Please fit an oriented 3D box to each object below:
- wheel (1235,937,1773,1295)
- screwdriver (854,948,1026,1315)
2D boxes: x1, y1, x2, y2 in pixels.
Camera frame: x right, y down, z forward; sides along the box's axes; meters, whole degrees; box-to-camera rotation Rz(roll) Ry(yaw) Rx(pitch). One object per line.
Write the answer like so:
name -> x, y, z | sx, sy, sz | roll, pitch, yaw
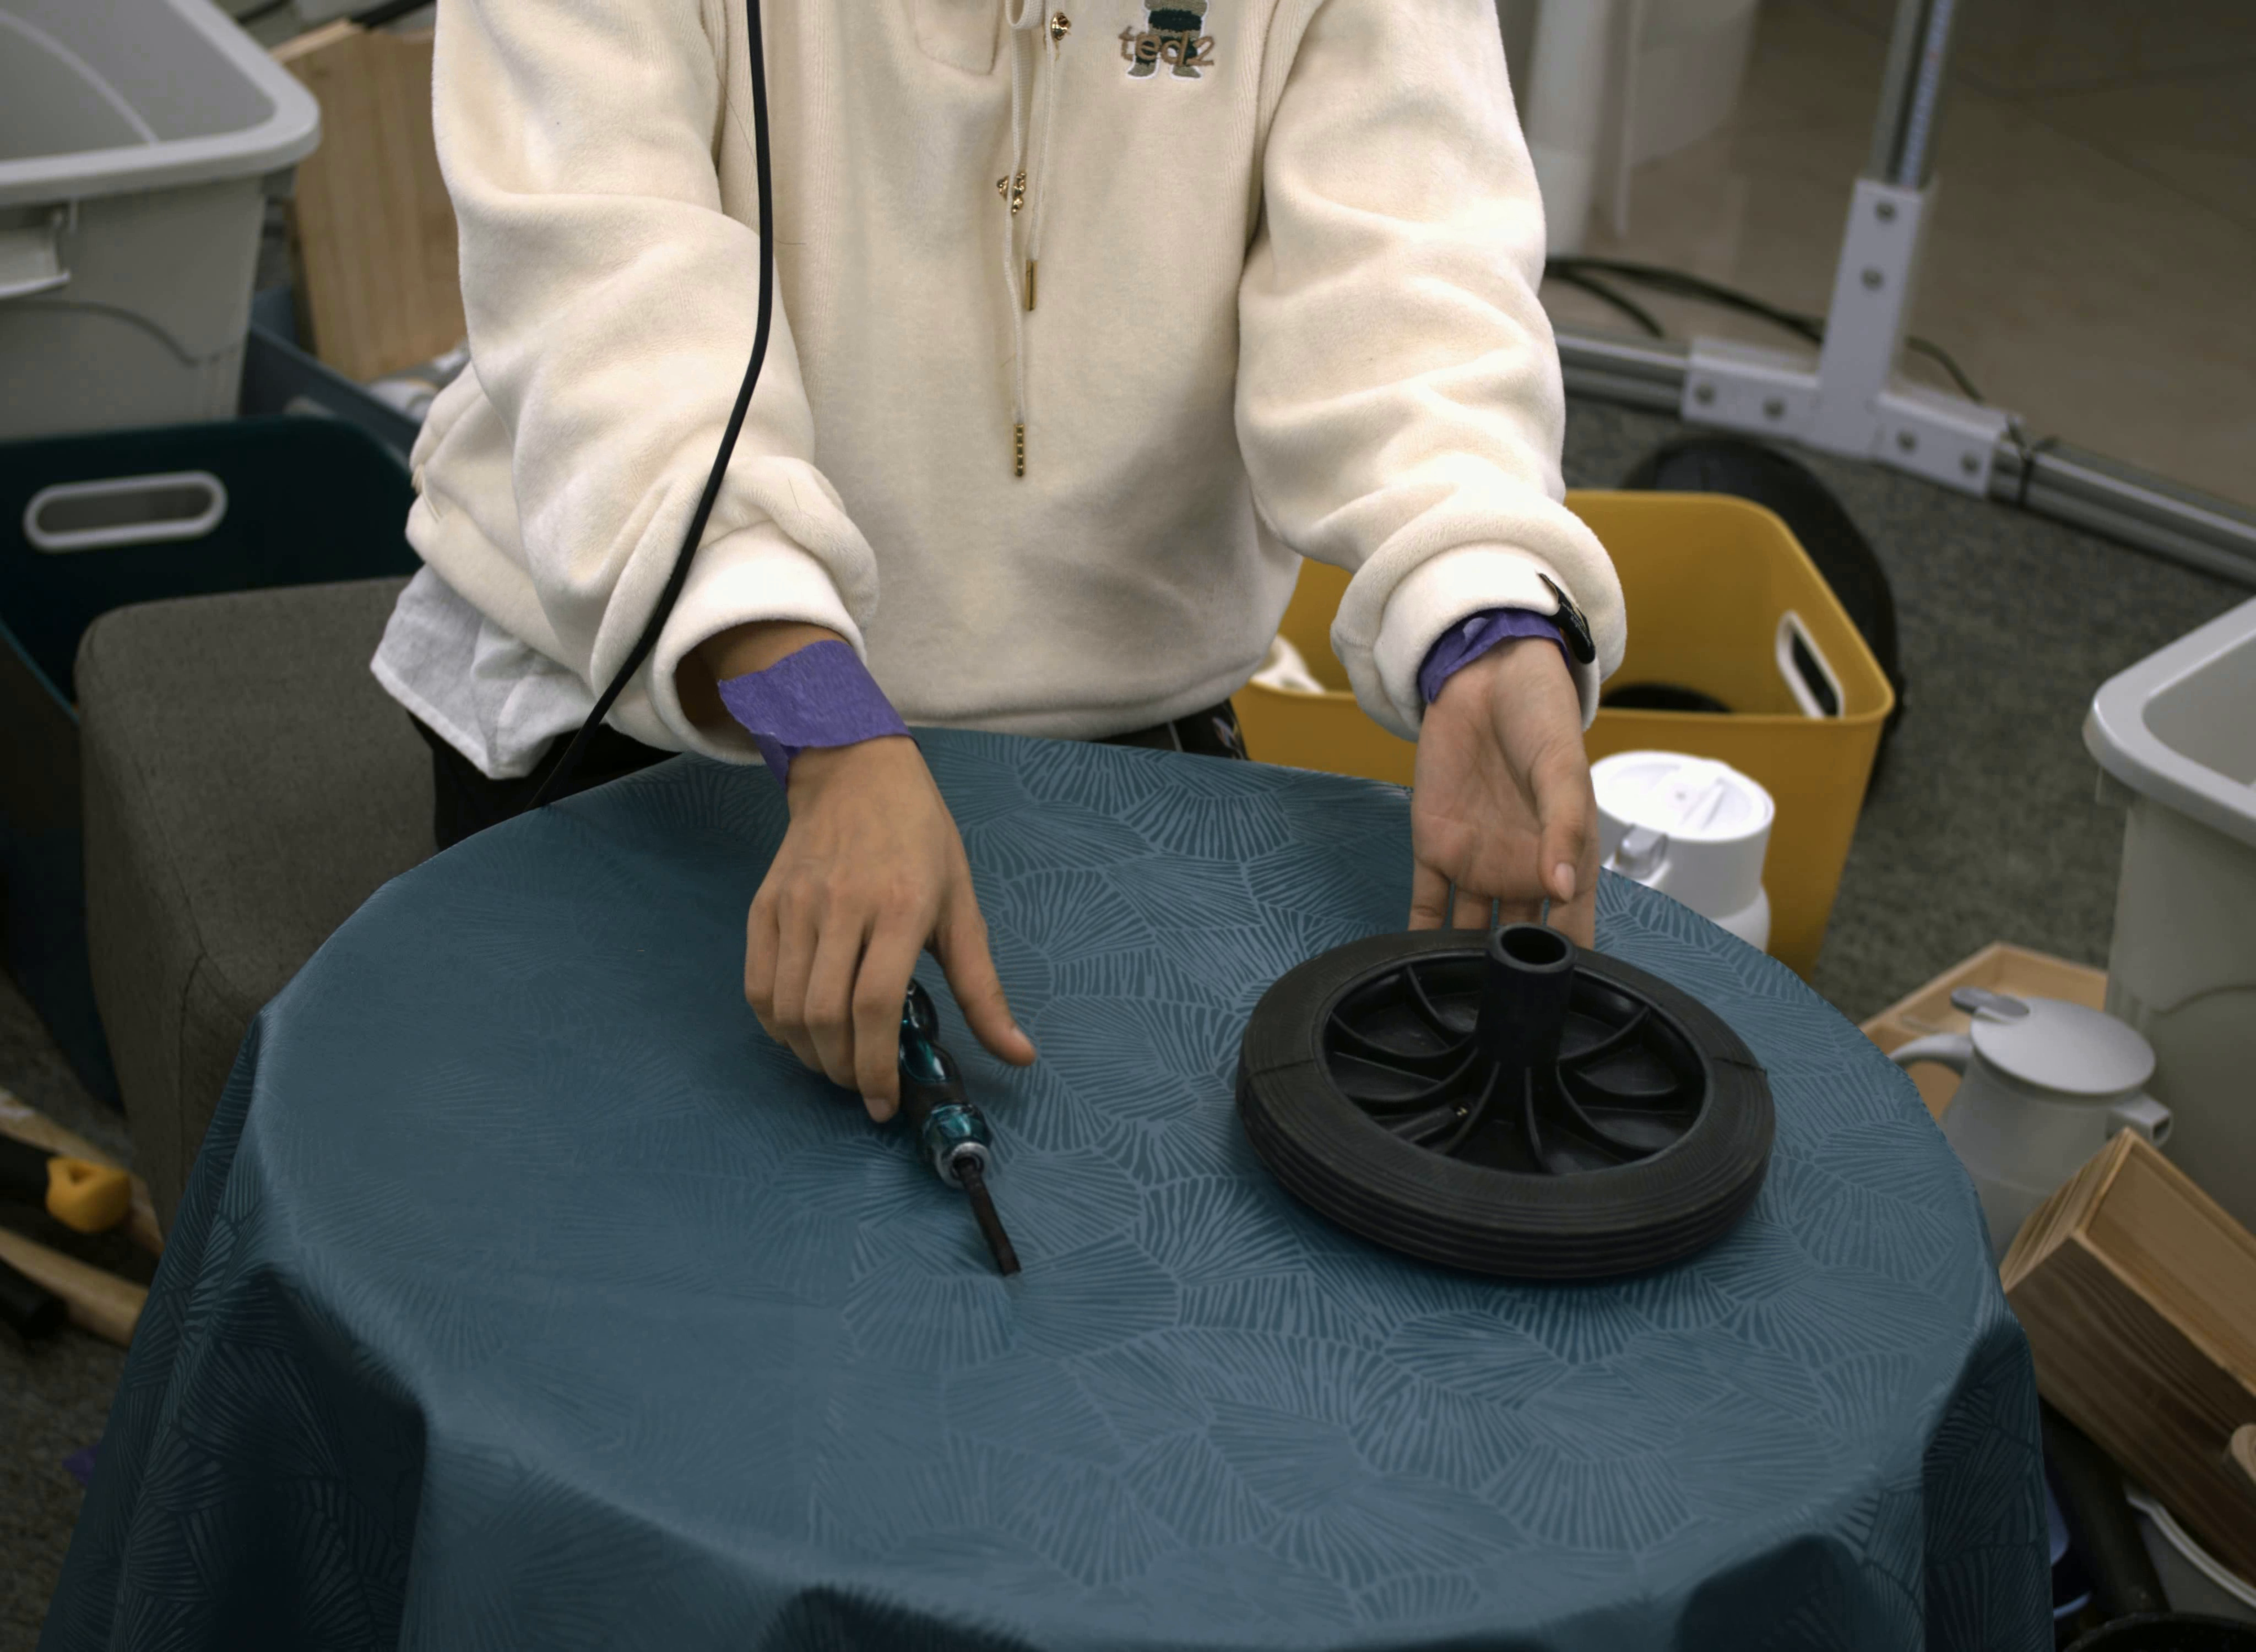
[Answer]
wheel -> 0.132, 0.080, 1.833 | 0.188, 0.079, 0.190 | 19, 34, 19
screwdriver -> -0.060, 0.105, 1.799 | 0.033, 0.033, 0.192 | -2, 34, -17
